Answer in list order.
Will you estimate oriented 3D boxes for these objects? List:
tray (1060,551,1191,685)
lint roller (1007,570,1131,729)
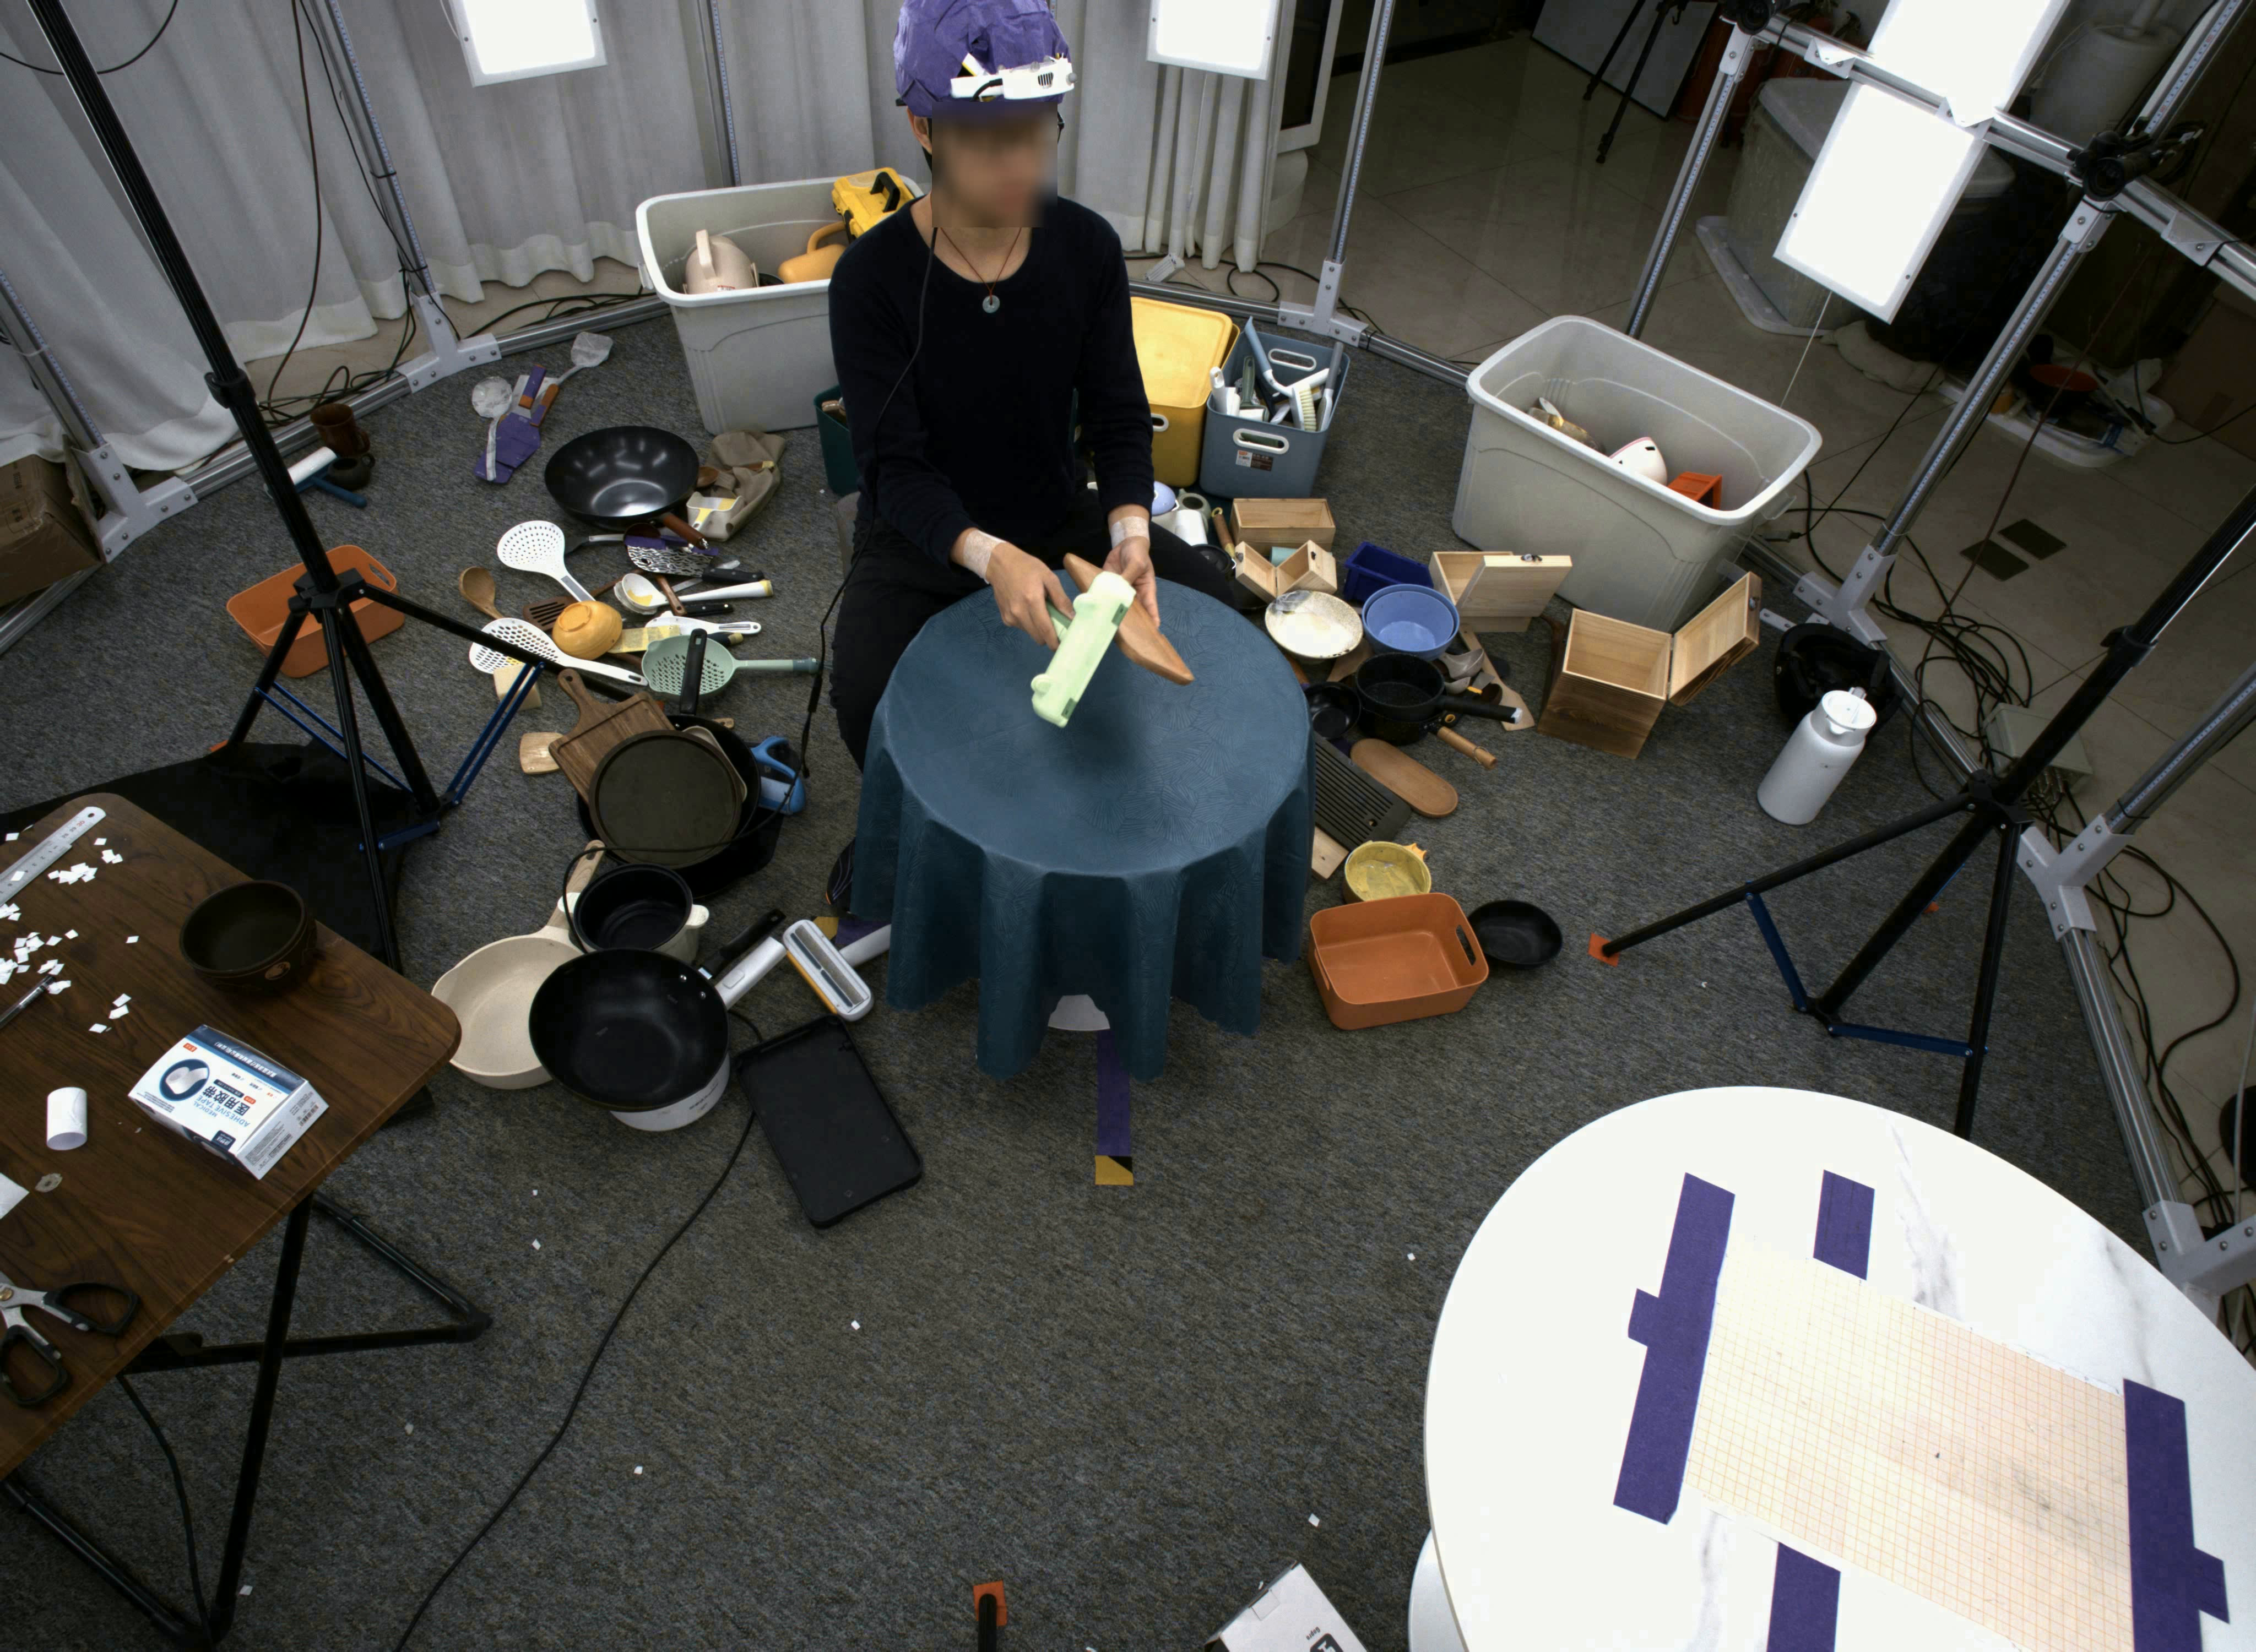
[{"bbox_3d":[-0.007,-0.273,1.679,0.128,0.022,0.257,24,25,-40],"label":"tray"},{"bbox_3d":[-0.103,-0.249,1.594,0.186,0.196,0.082,39,23,23],"label":"lint roller"}]
